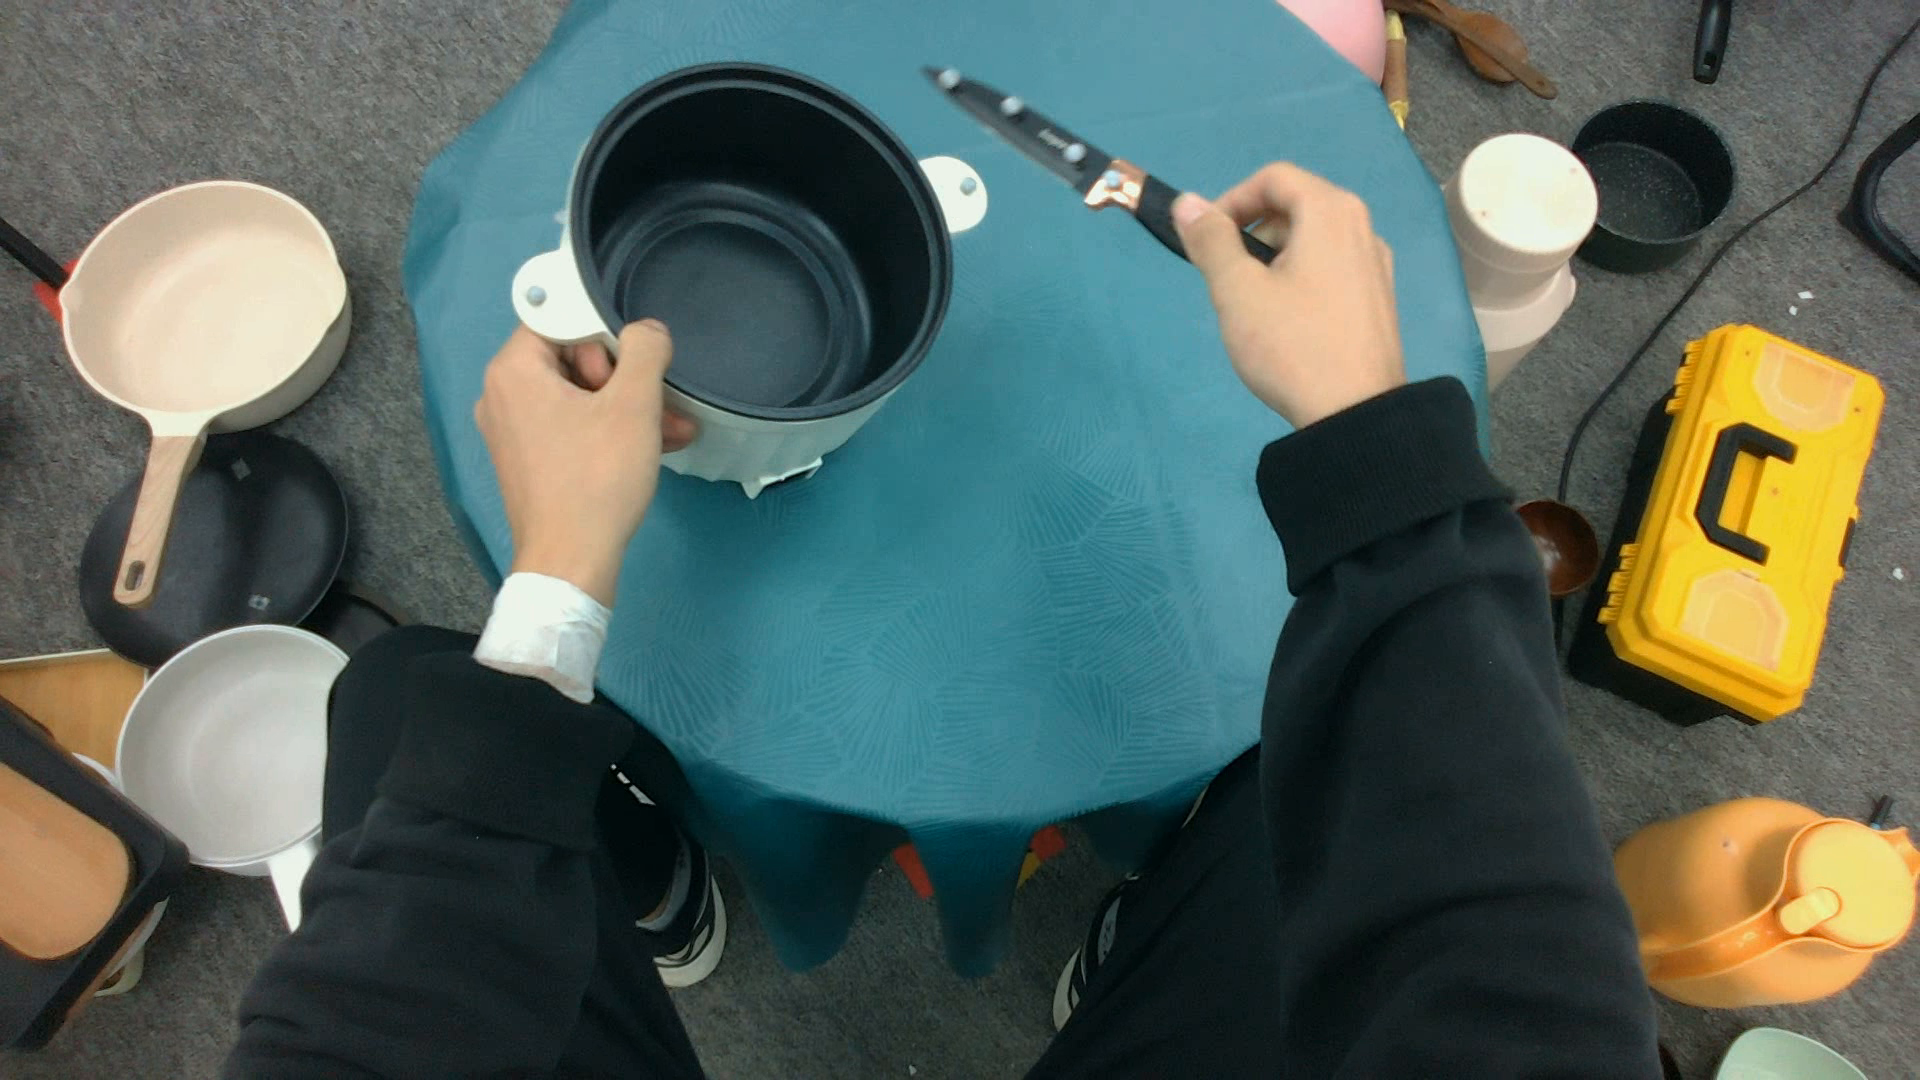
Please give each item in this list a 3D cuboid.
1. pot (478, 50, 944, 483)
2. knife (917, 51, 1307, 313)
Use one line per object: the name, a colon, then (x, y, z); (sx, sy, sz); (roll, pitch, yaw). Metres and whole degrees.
pot: (-0.133, -0.135, 0.698); (0.241, 0.142, 0.190); (-25, 87, -28)
knife: (0.064, -0.170, 0.625); (0.225, 0.017, 0.026); (41, 99, 20)
